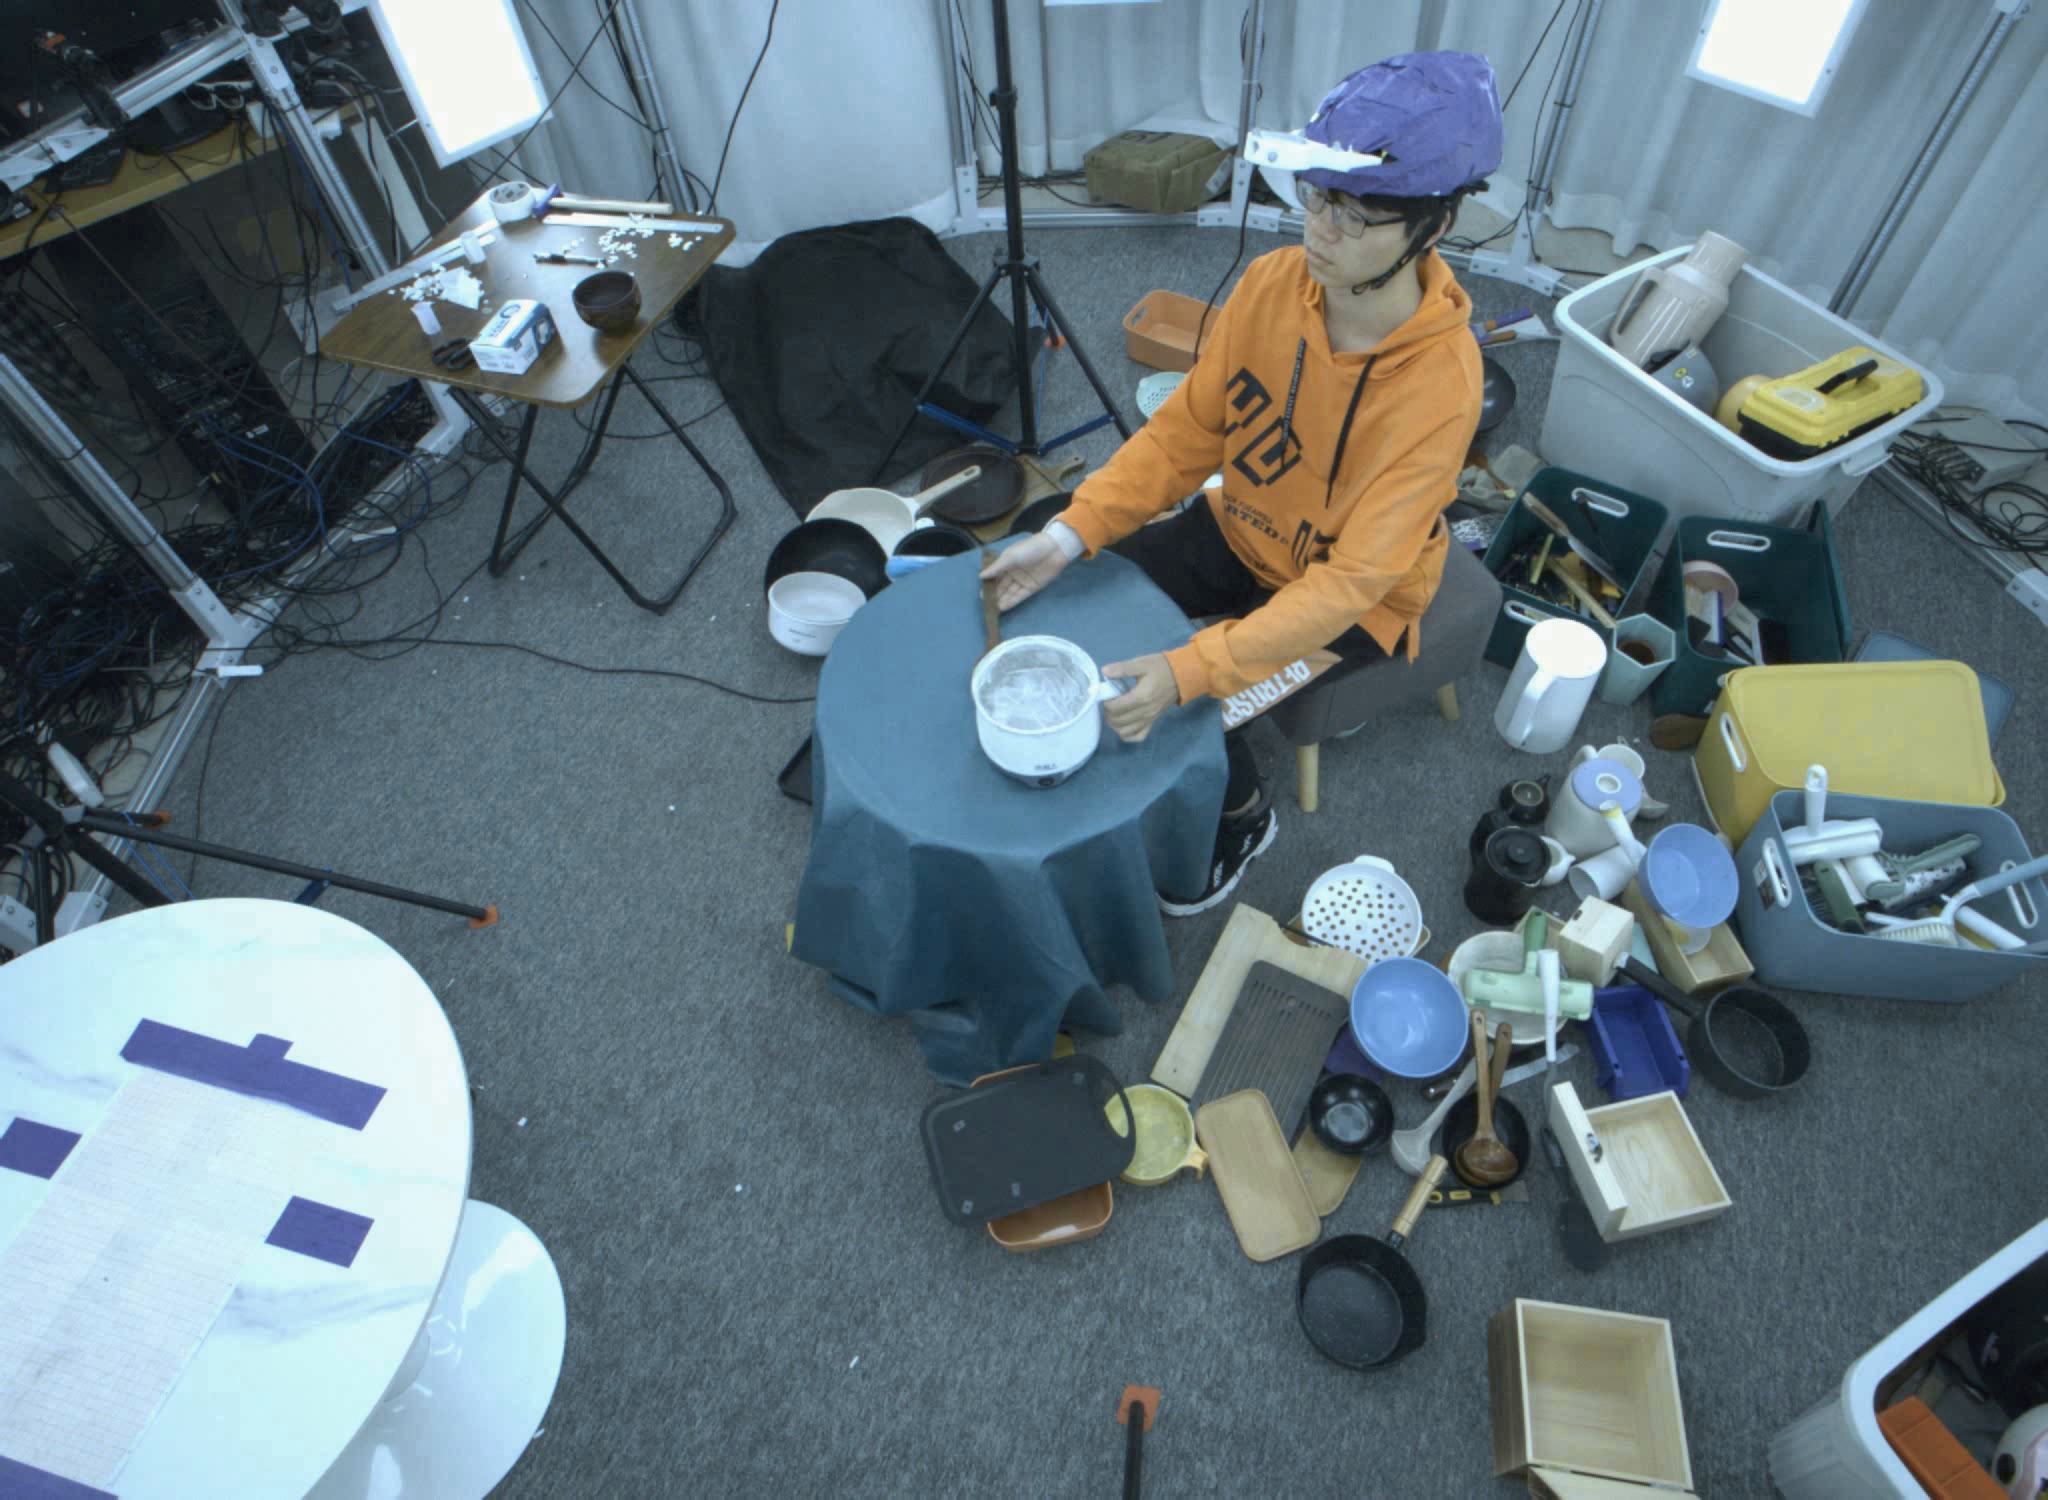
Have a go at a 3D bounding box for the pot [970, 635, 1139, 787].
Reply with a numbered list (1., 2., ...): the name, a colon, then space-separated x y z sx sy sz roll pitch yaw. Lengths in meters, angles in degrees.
1. pot: 0.046 -0.059 1.742 0.234 0.138 0.176 -8 55 -3

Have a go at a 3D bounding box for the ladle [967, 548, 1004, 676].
1. ladle: -0.055 -0.223 1.892 0.076 0.072 0.271 -6 62 2
